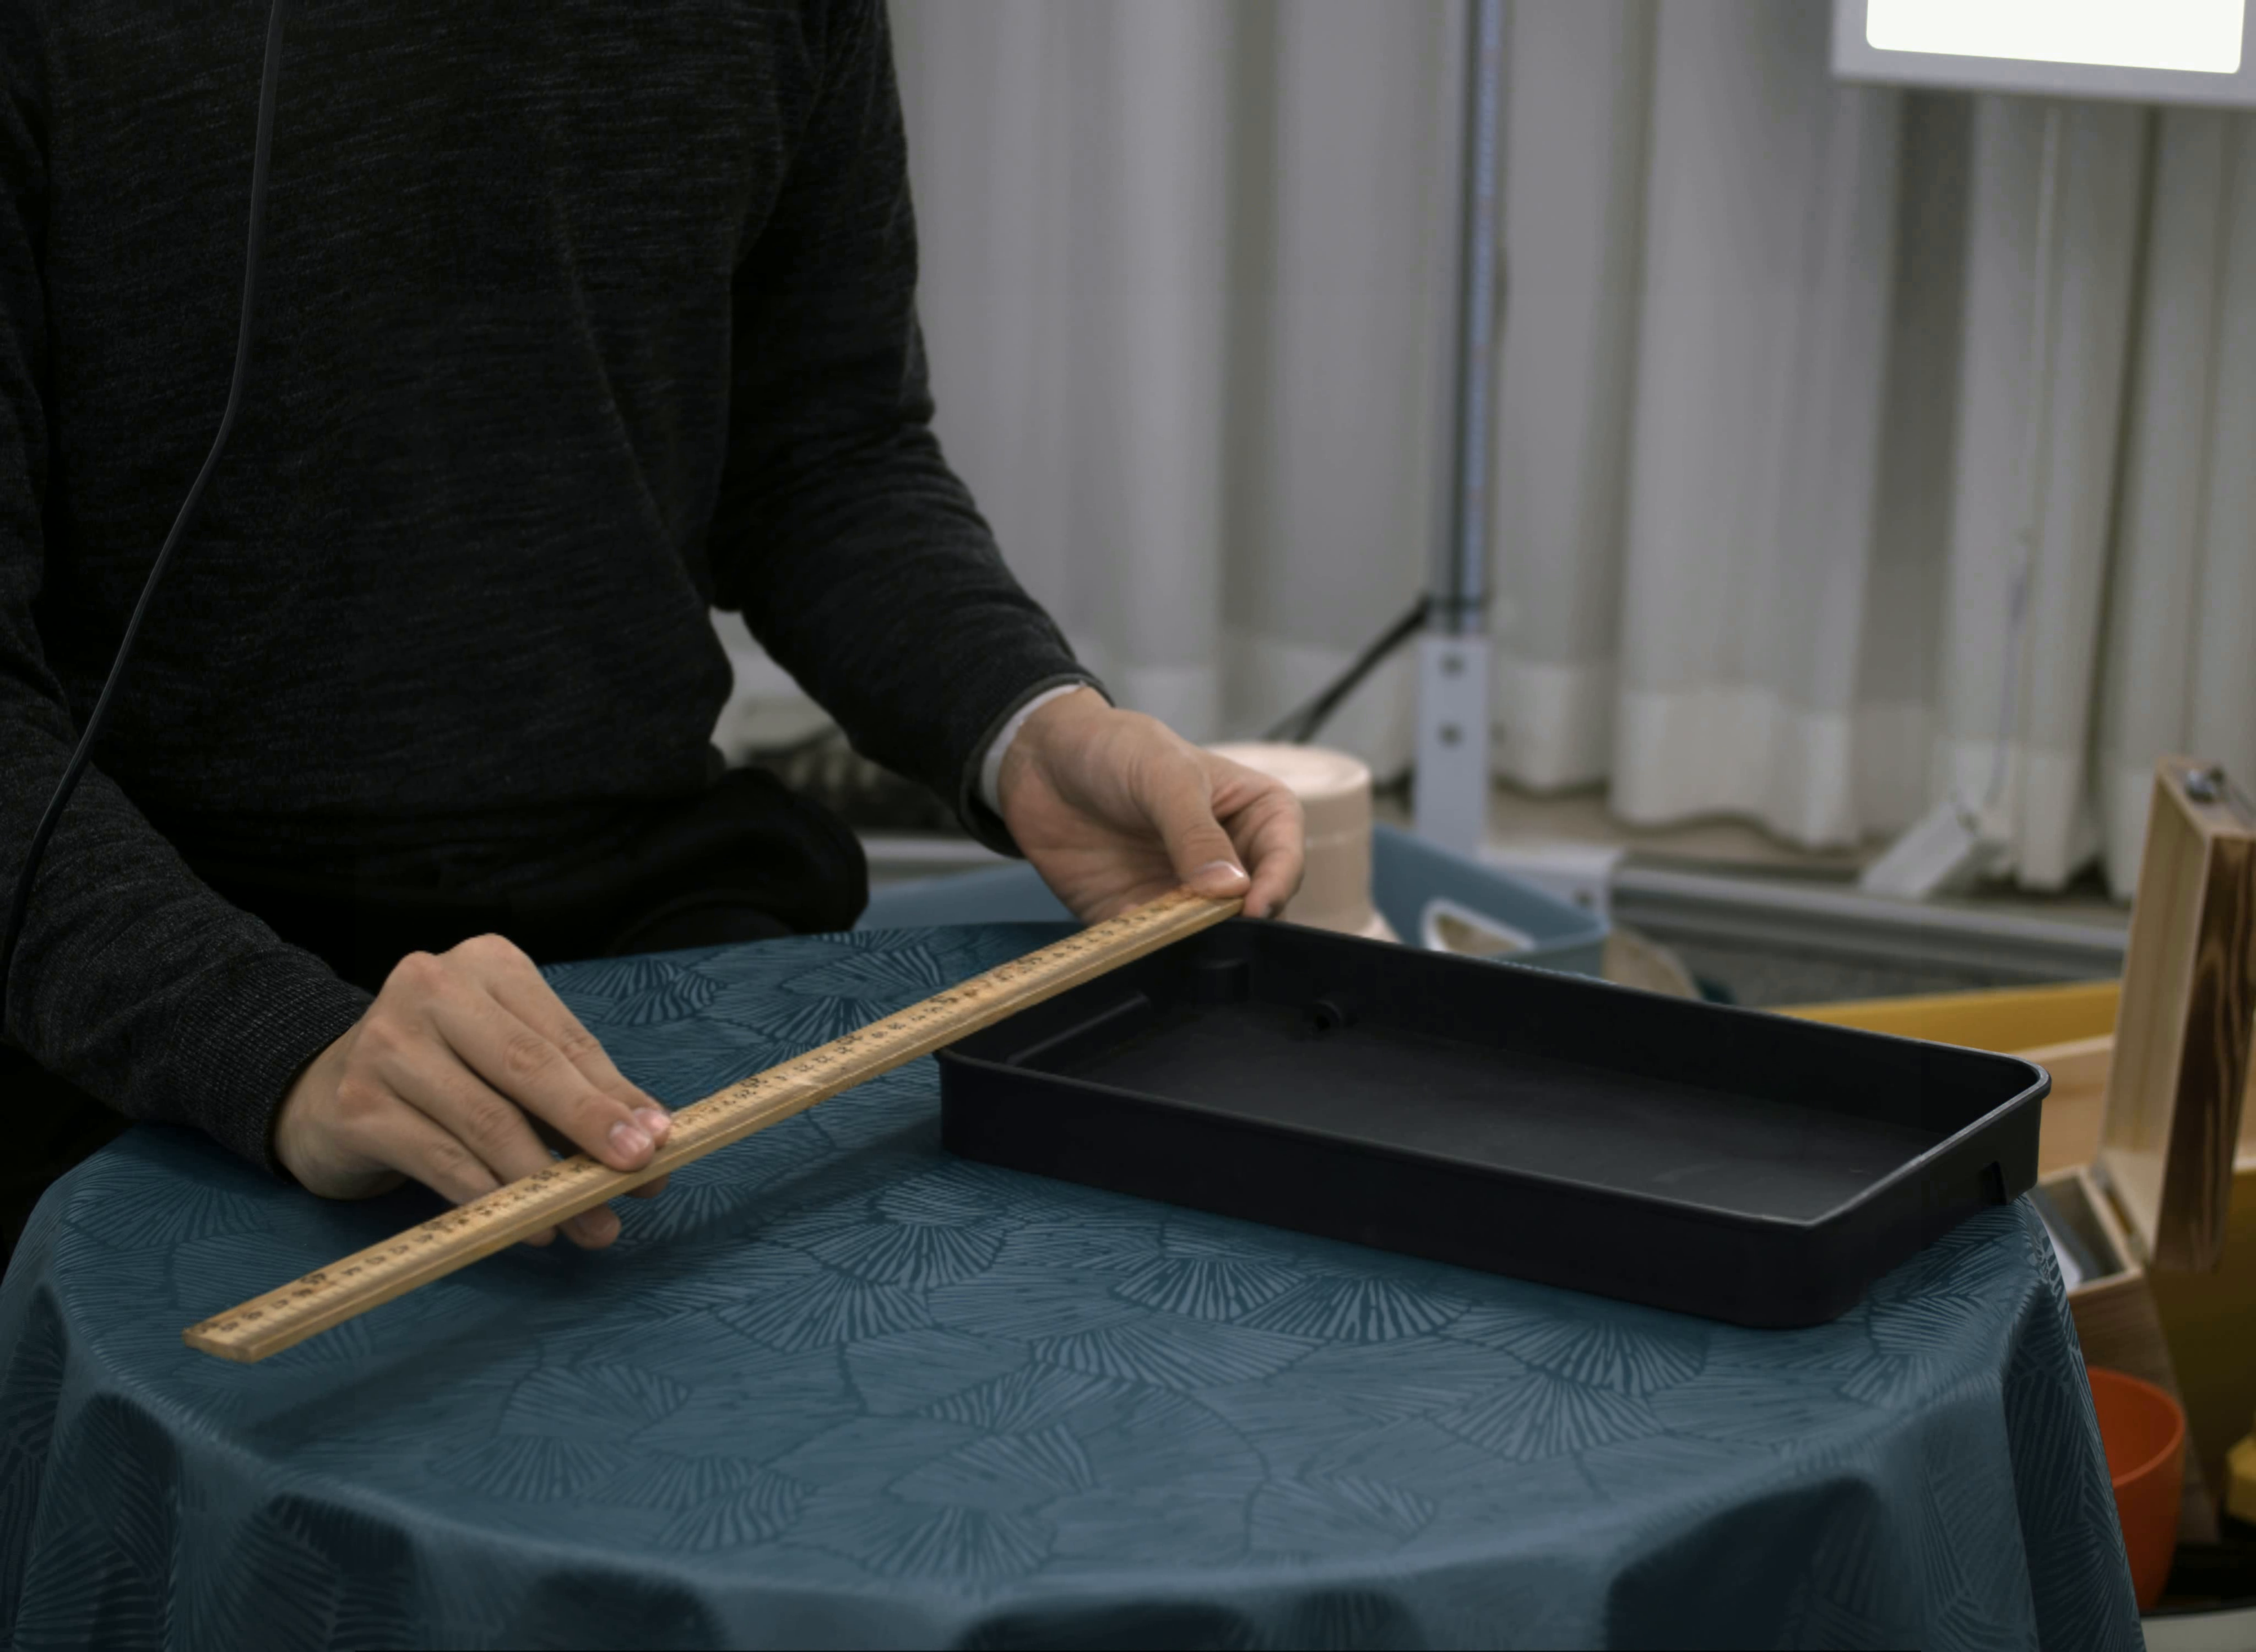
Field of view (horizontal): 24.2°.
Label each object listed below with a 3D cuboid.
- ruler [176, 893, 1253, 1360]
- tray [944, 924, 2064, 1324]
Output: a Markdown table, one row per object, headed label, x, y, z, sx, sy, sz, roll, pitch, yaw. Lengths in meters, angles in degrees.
| label | x | y | z | sx | sy | sz | roll | pitch | yaw |
| --- | --- | --- | --- | --- | --- | --- | --- | --- | --- |
| ruler | -0.106 | 0.081 | 1.595 | 0.026 | 0.006 | 0.502 | 7 | 17 | 33 |
| tray | 0.116 | 0.089 | 1.643 | 0.314 | 0.037 | 0.185 | 9 | 17 | 30 |
